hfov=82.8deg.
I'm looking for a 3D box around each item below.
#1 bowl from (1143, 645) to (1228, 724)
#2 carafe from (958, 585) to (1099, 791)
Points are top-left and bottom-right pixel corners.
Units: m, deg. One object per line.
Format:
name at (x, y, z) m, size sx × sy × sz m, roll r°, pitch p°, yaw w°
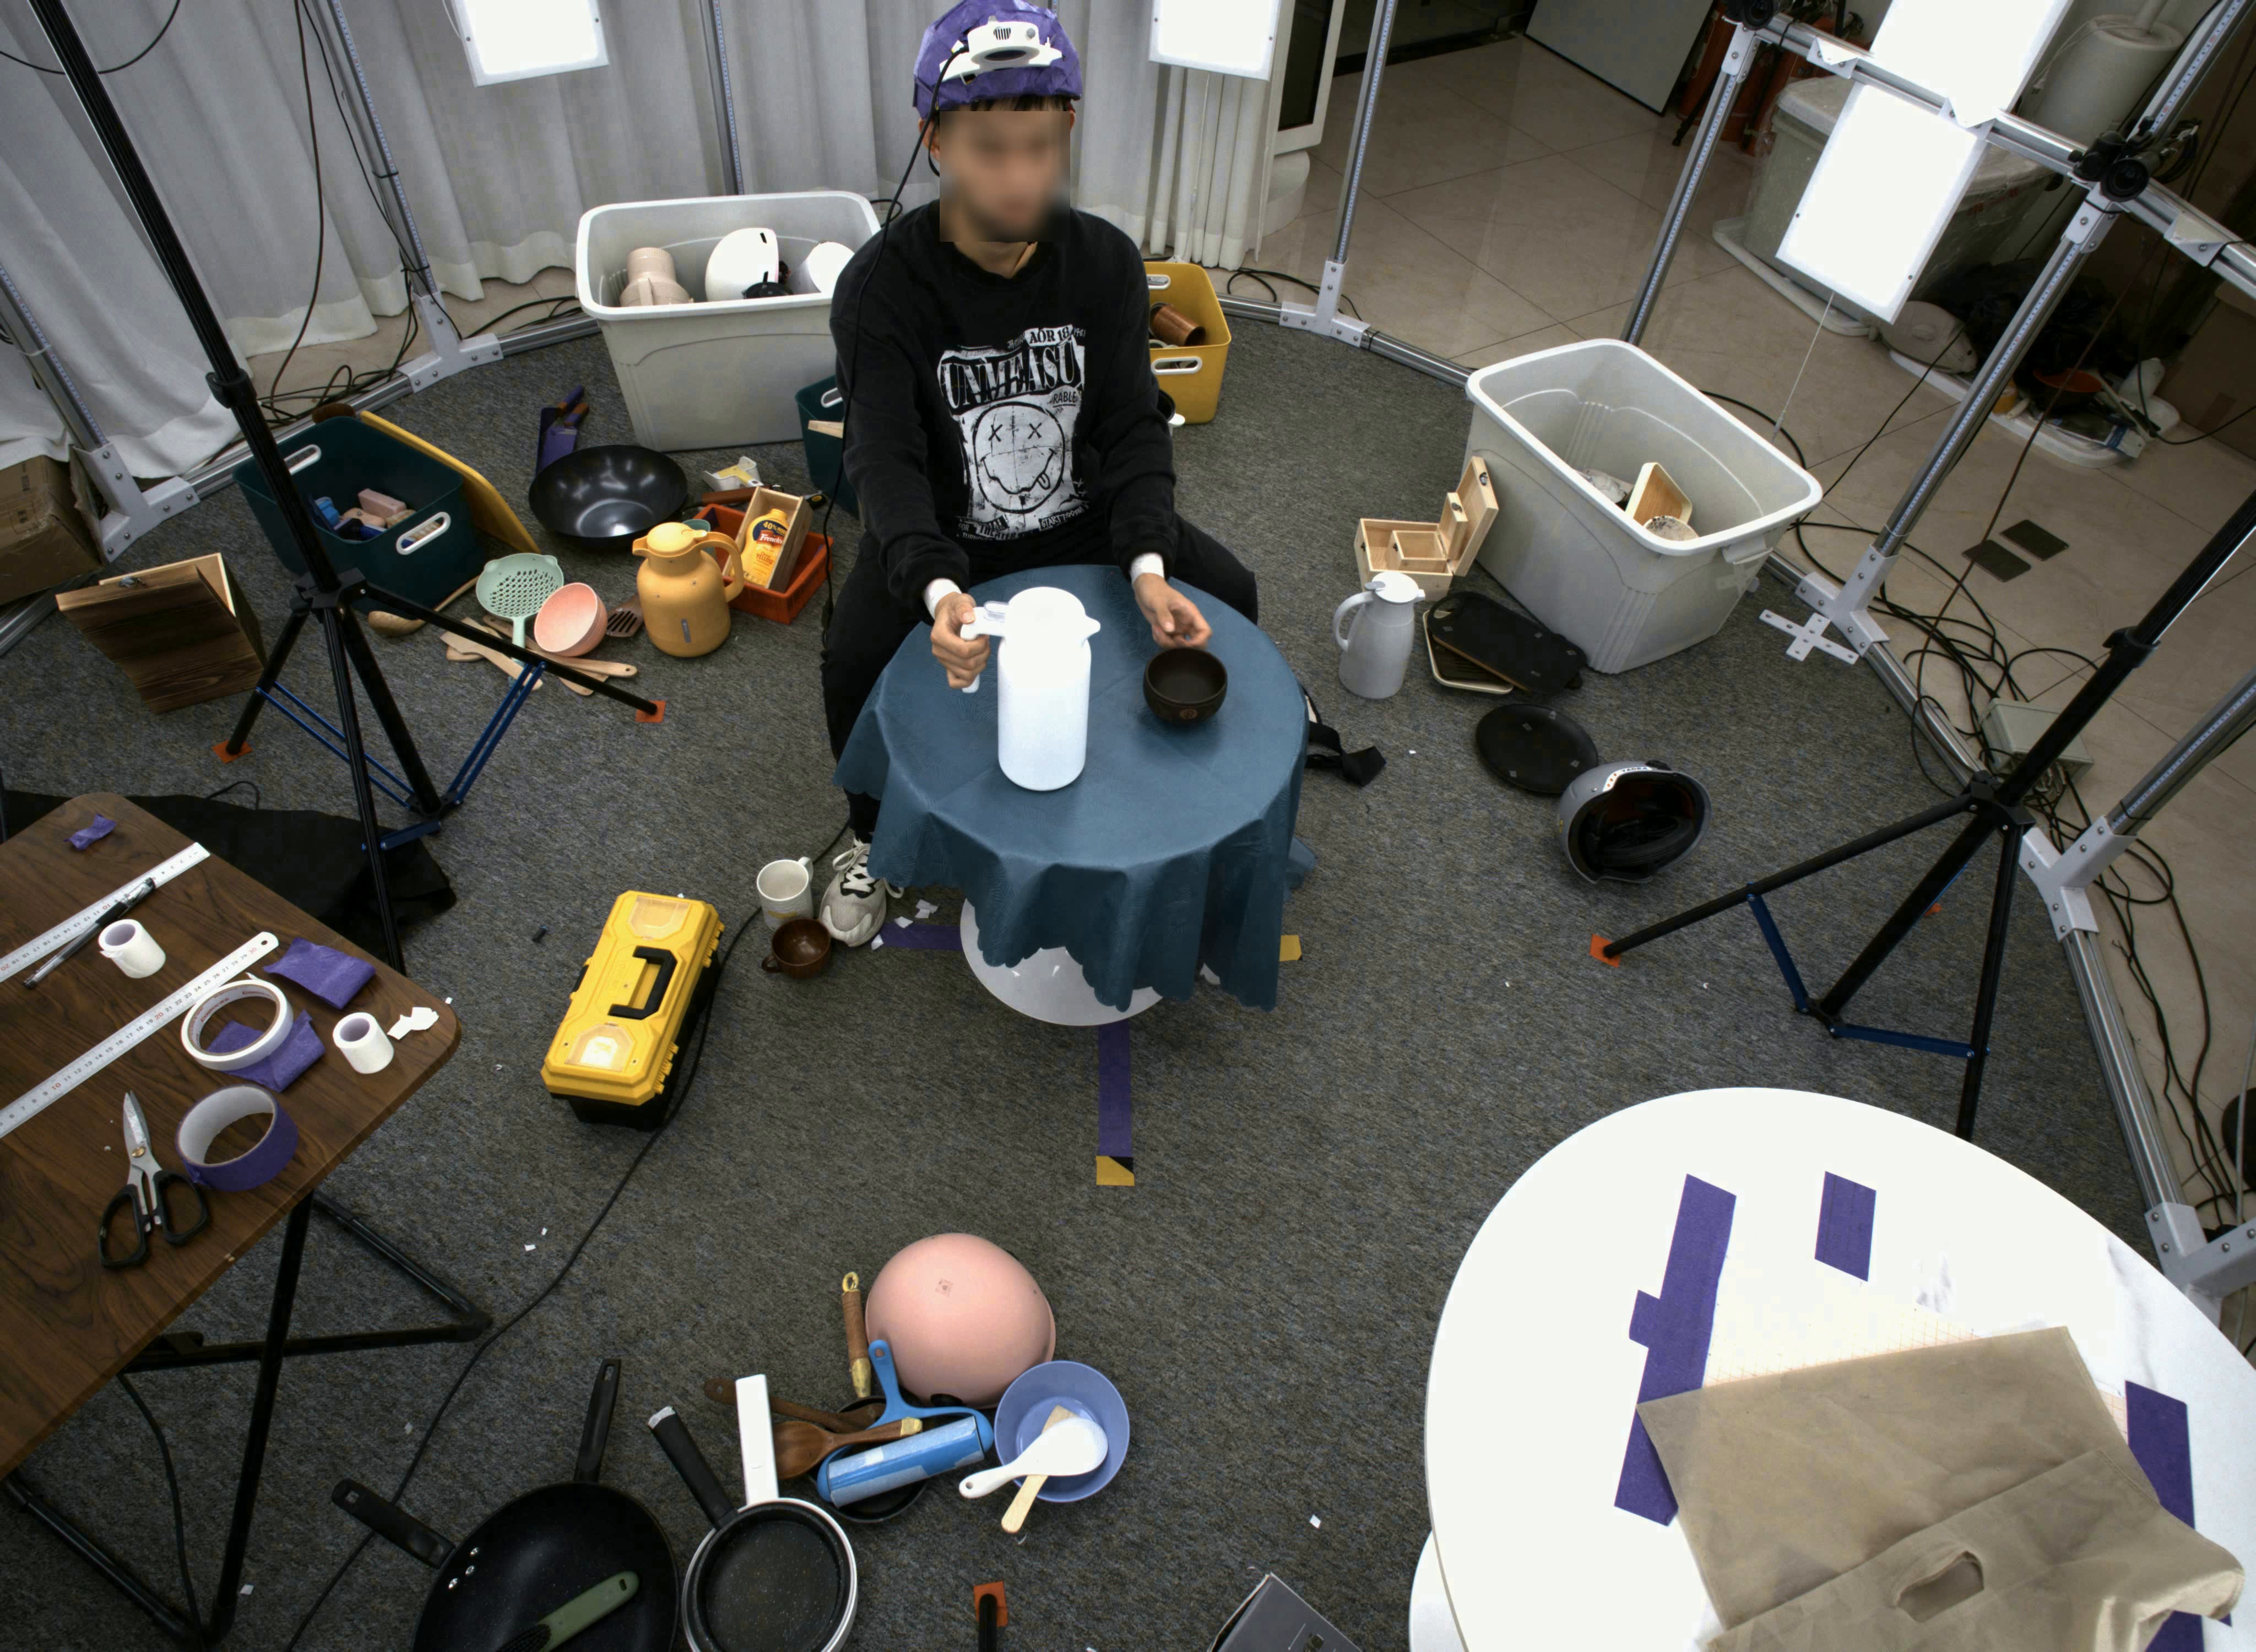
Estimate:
bowl at (0.079, -0.190, 1.791) m, size 0.118 × 0.068 × 0.121 m, roll 1°, pitch 49°, yaw -2°
carafe at (-0.128, -0.173, 1.639) m, size 0.173 × 0.262 × 0.127 m, roll 8°, pitch 51°, yaw 2°
